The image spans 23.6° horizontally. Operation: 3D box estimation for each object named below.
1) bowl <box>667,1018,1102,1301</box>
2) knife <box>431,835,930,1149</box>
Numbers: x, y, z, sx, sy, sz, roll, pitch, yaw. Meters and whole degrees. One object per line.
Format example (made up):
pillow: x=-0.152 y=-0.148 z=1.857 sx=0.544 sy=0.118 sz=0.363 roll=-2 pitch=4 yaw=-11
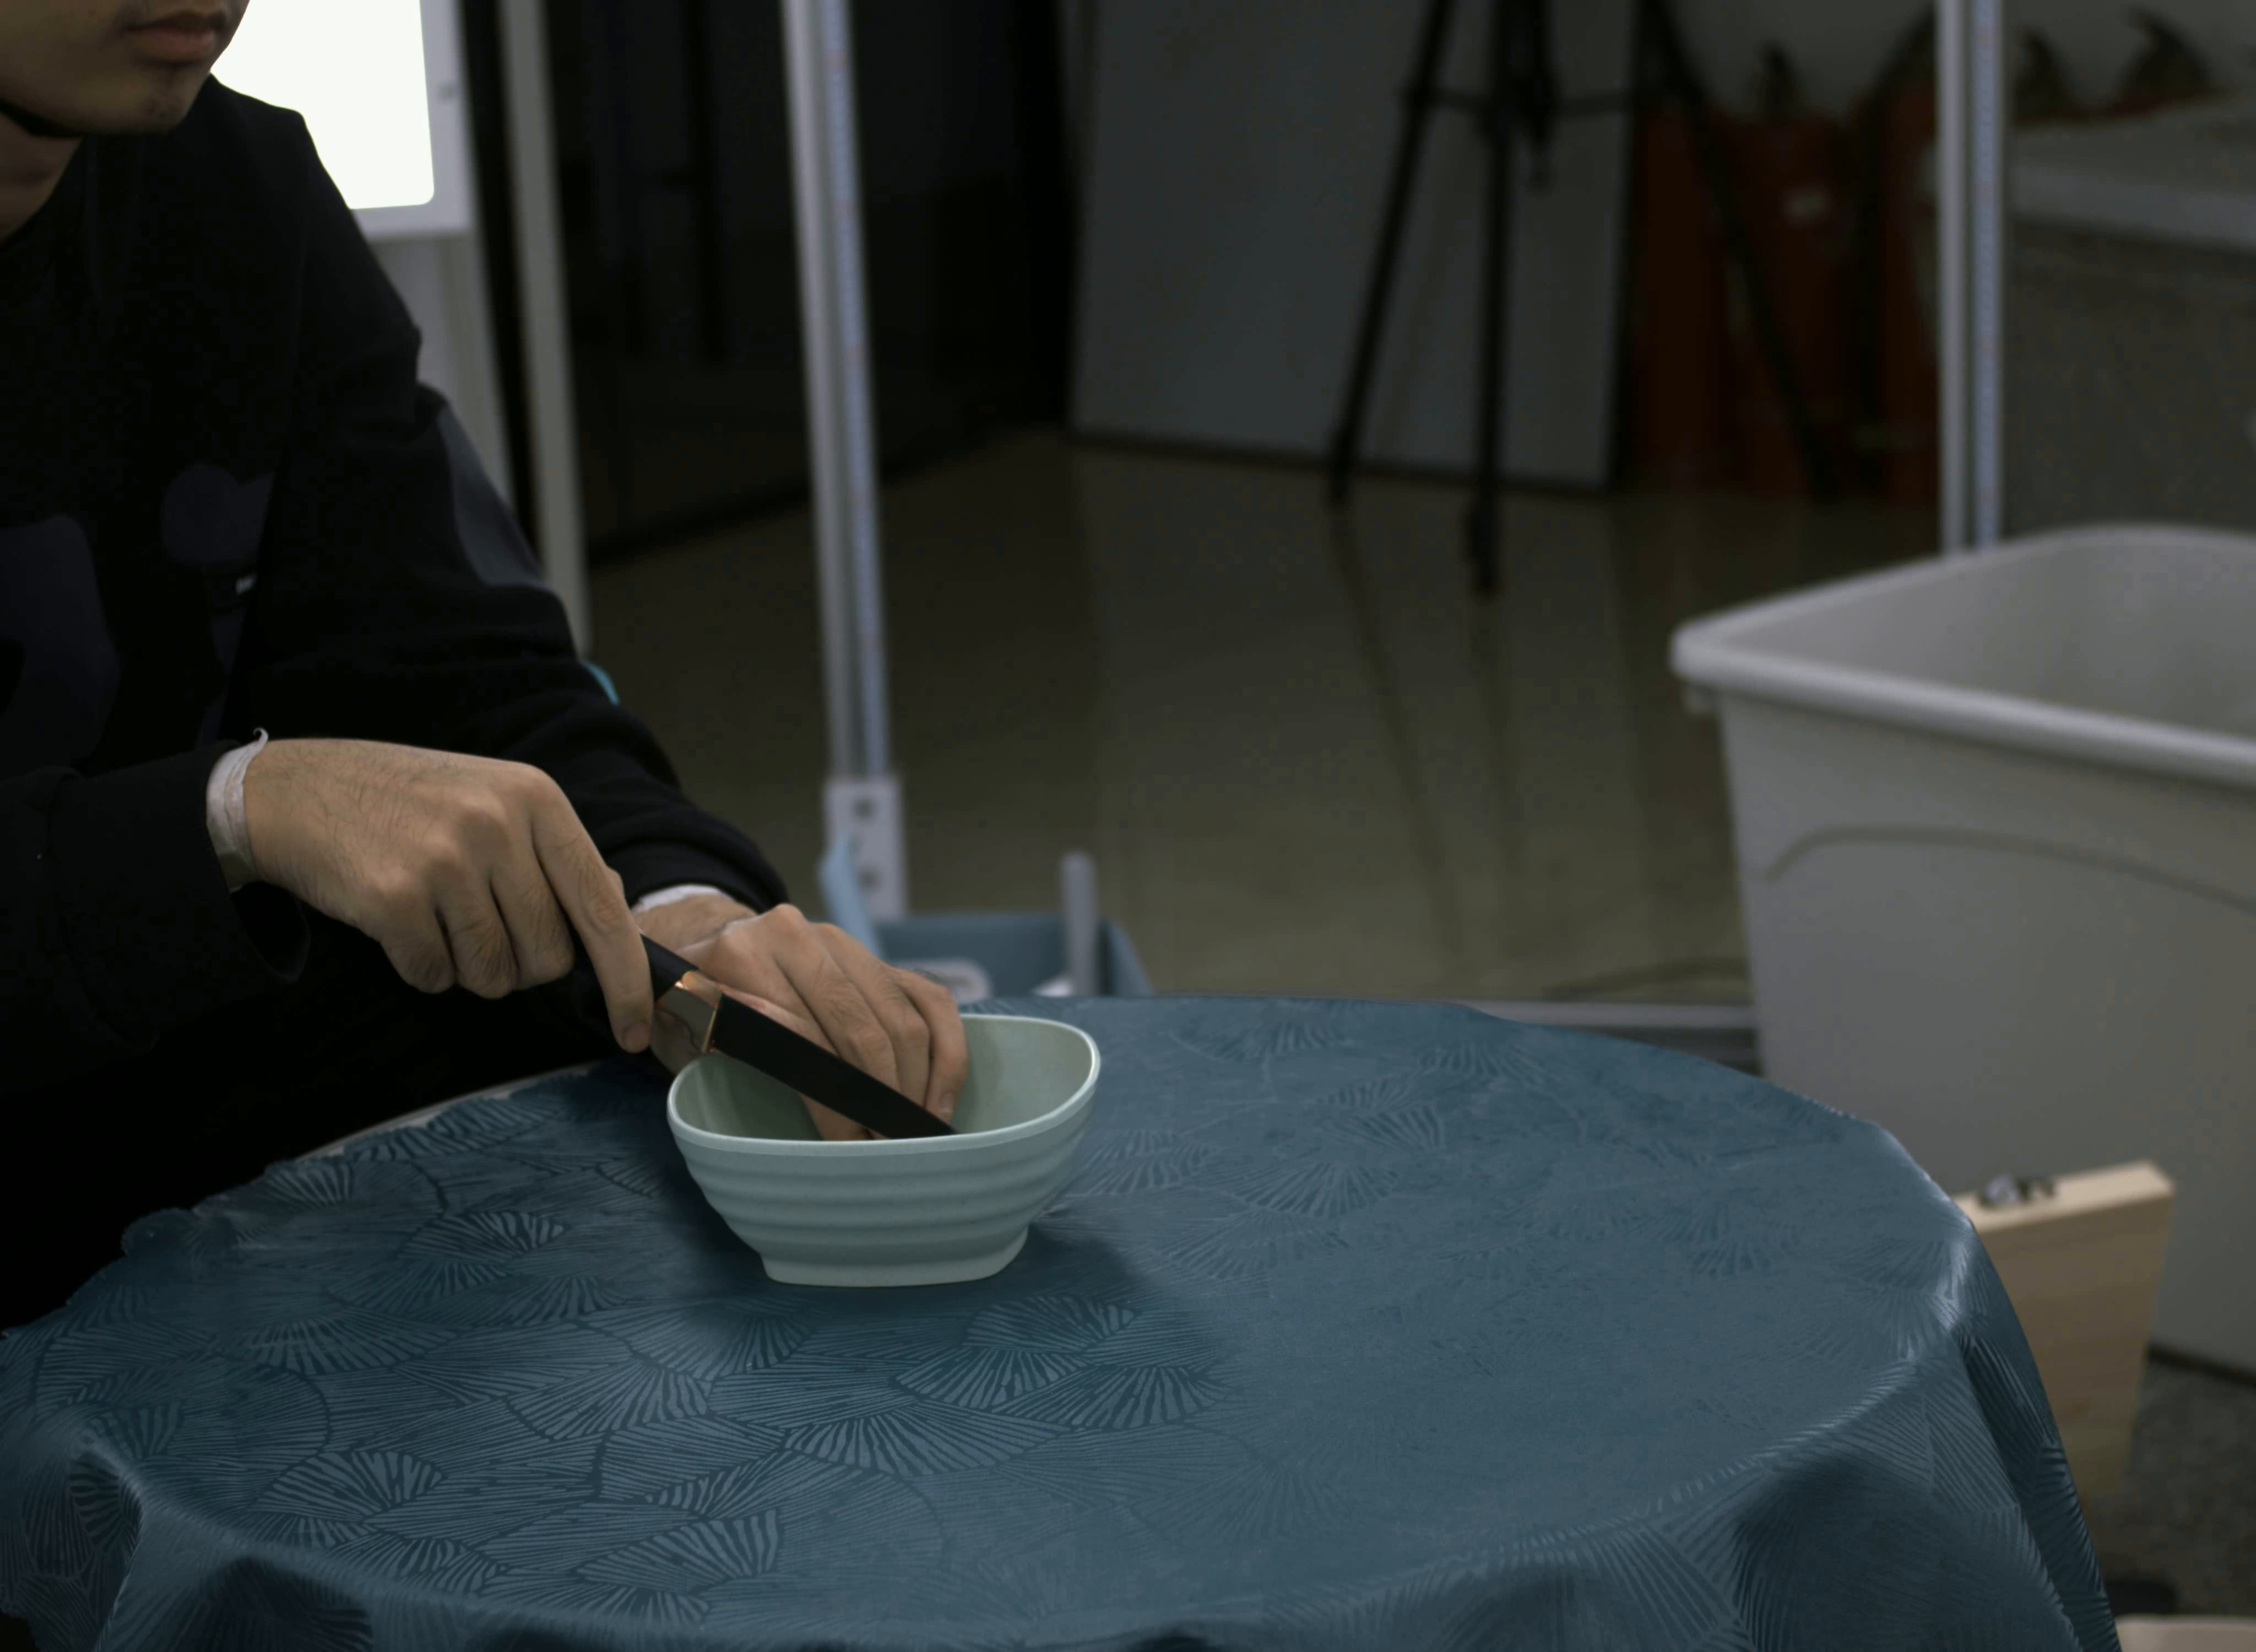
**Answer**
bowl: x=-0.075 y=0.110 z=1.727 sx=0.149 sy=0.059 sz=0.152 roll=-5 pitch=15 yaw=0
knife: x=-0.129 y=0.065 z=1.734 sx=0.225 sy=0.026 sz=0.017 roll=30 pitch=29 yaw=9
